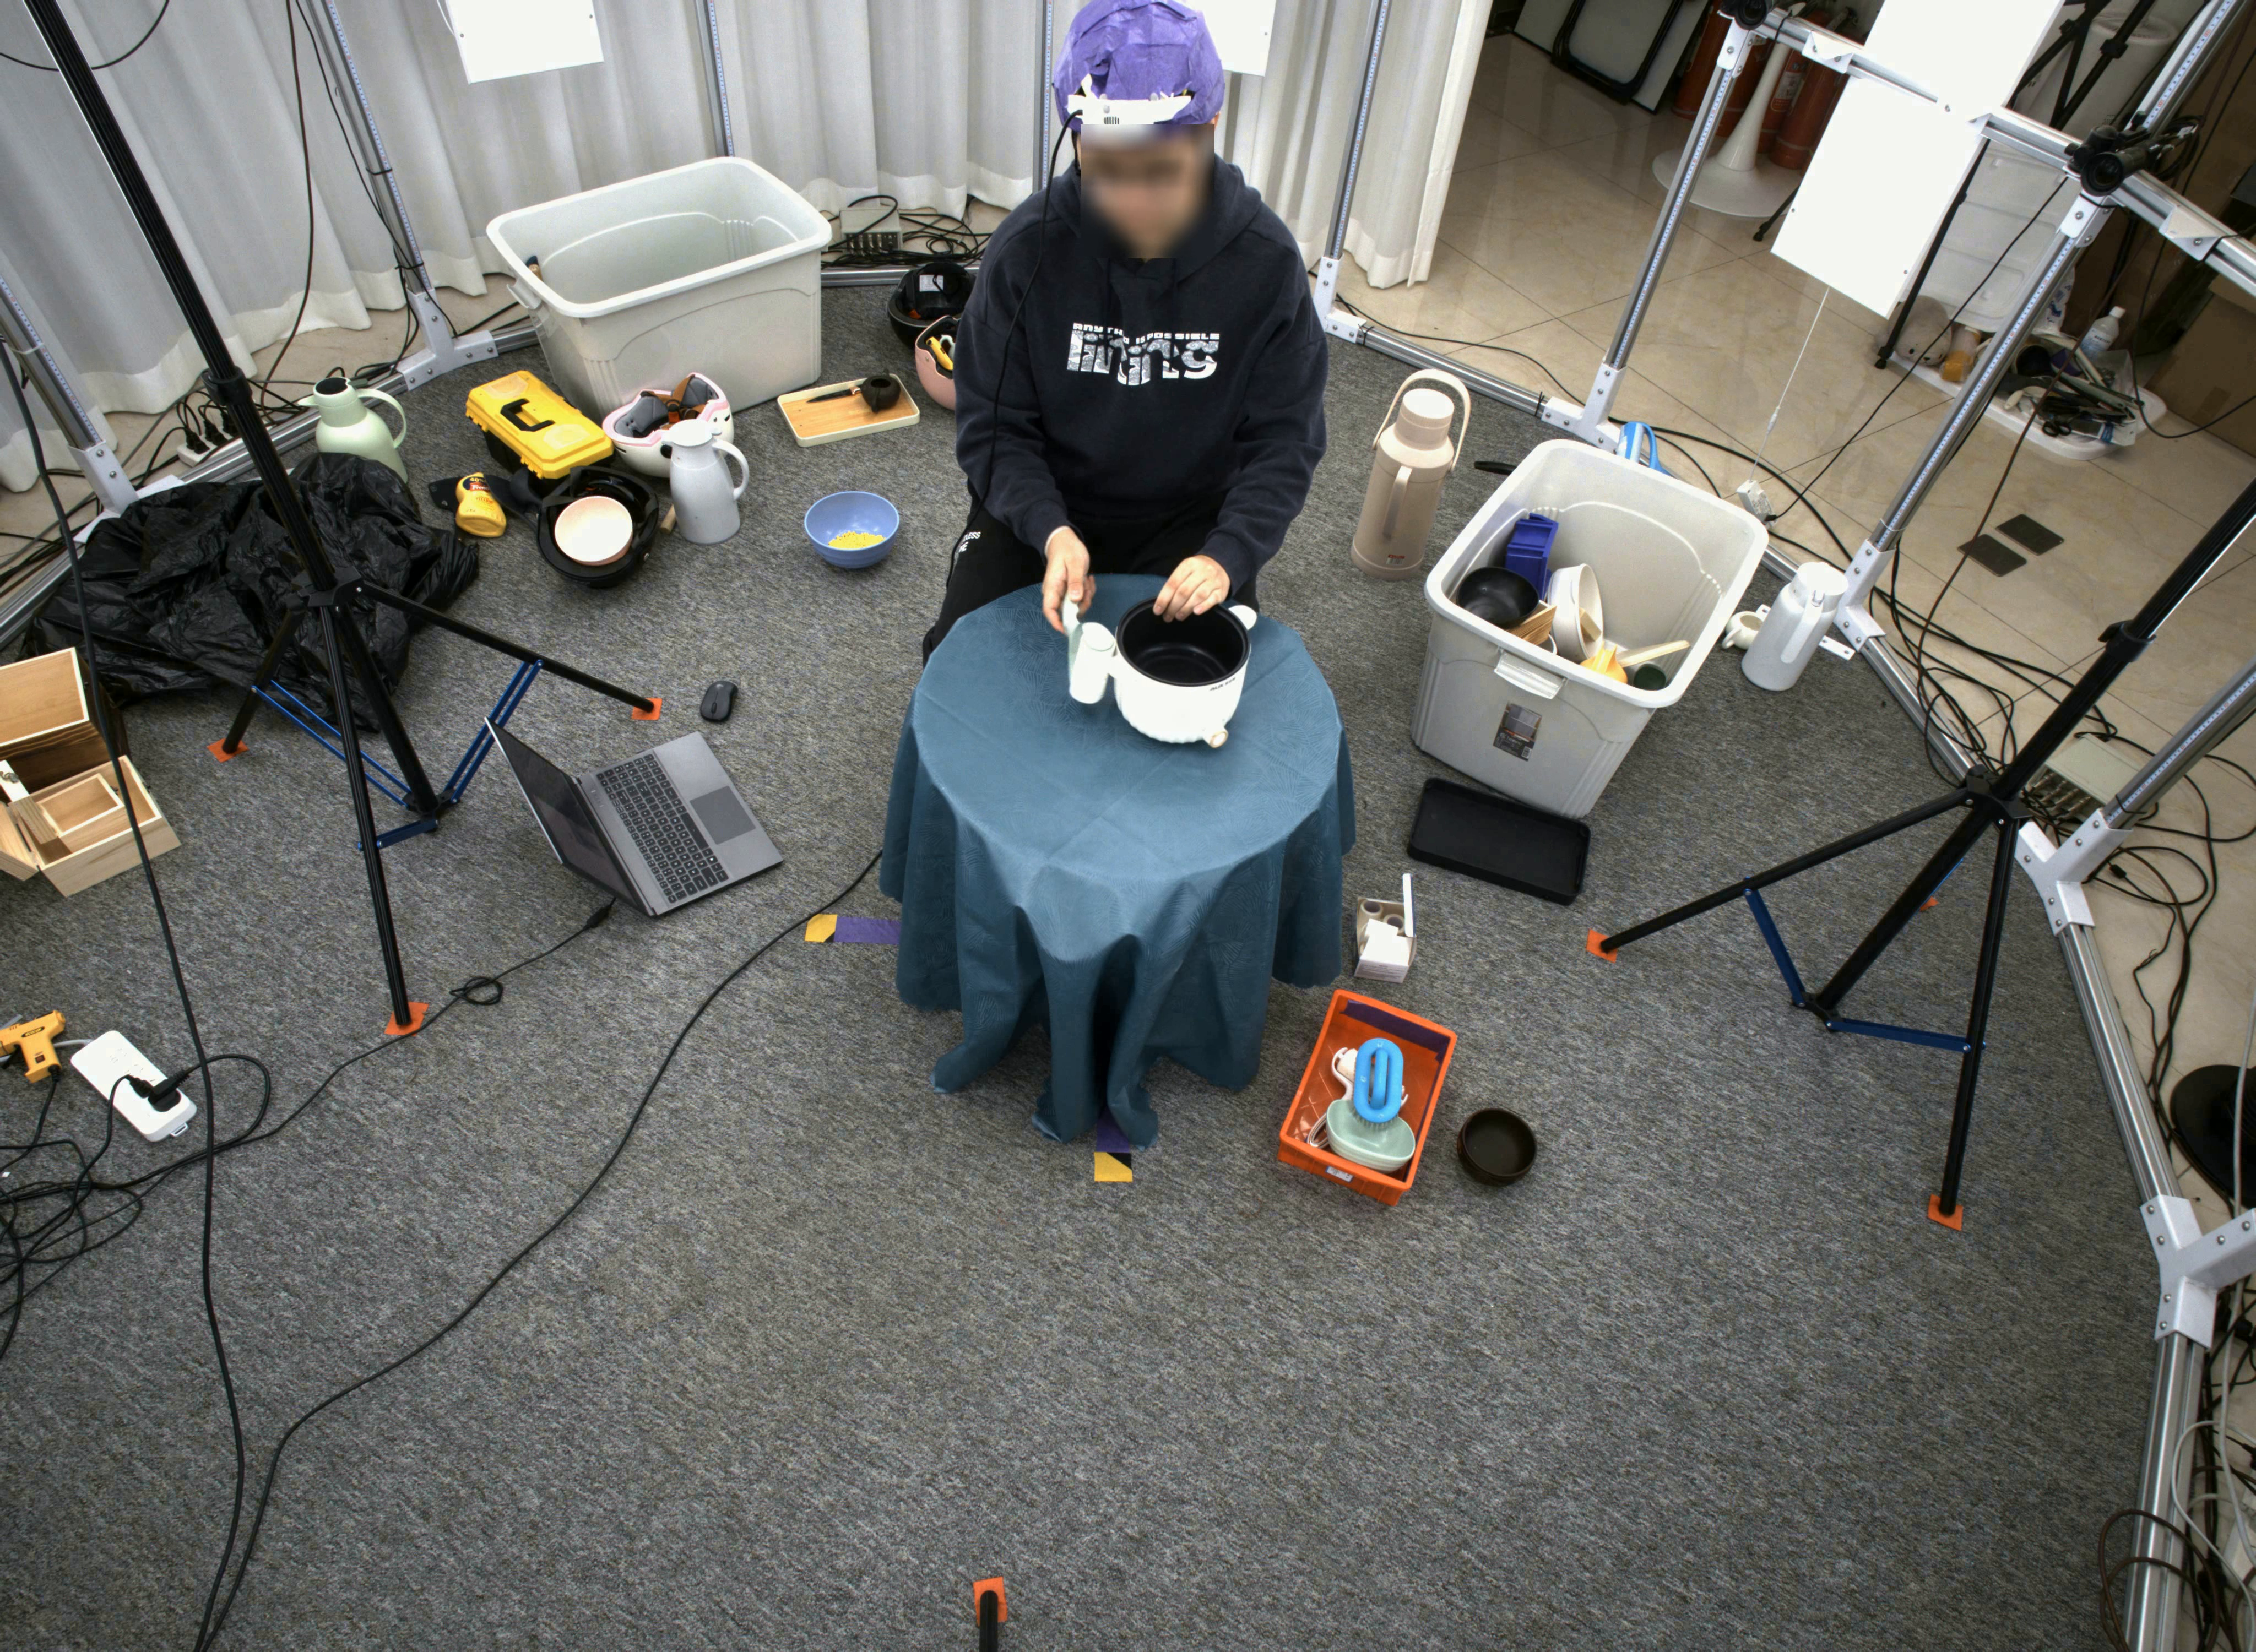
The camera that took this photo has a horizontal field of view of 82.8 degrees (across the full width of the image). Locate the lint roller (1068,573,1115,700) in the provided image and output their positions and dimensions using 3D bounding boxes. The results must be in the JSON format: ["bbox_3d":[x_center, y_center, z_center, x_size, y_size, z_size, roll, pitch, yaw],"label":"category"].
[{"bbox_3d":[-0.058,-0.280,1.780,0.048,0.114,0.202,-6,55,-10],"label":"lint roller"}]

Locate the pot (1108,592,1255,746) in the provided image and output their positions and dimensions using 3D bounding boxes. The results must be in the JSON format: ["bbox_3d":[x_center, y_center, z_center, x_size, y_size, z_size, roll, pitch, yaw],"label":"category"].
[{"bbox_3d":[0.075,-0.207,1.762,0.241,0.139,0.194,-28,53,-24],"label":"pot"}]
